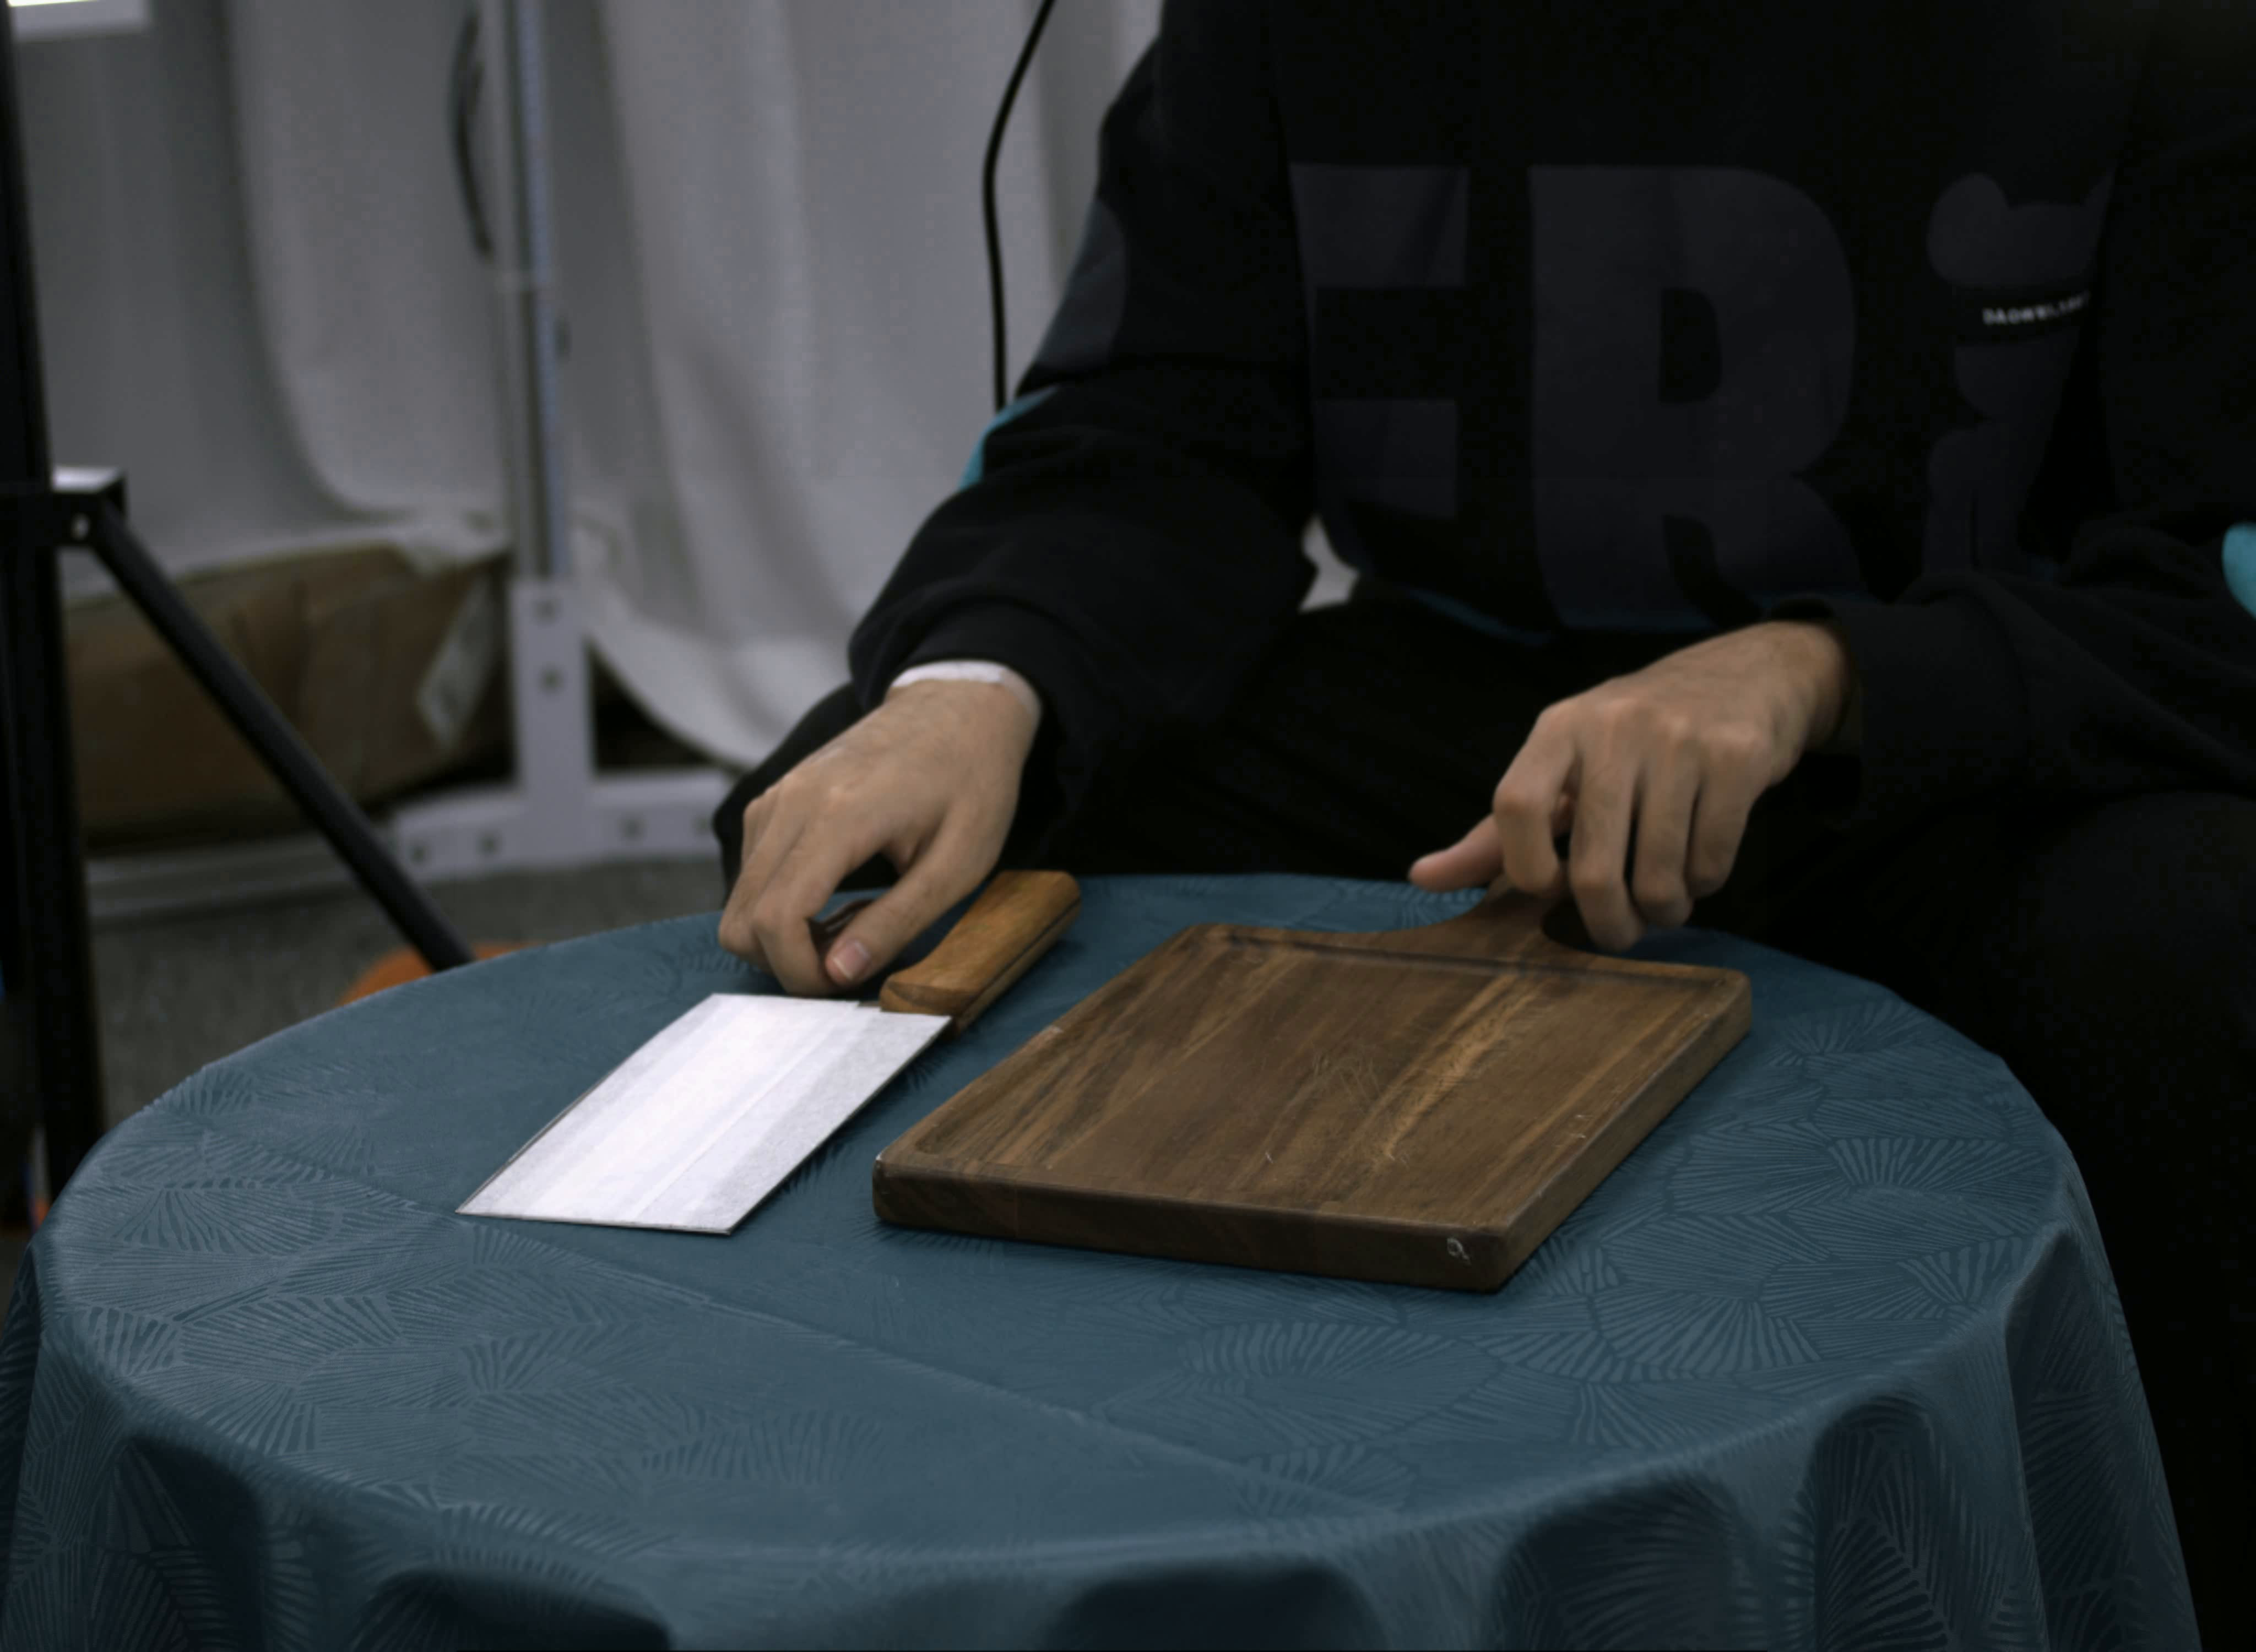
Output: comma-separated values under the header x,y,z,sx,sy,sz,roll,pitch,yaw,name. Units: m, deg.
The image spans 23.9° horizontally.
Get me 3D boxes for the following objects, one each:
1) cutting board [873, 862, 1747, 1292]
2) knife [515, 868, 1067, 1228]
x,y,z,sx,sy,sz,roll,pitch,yaw,name
0.079,0.068,1.647,0.204,0.023,0.347,4,17,23,cutting board
-0.105,0.069,1.687,0.094,0.021,0.302,1,19,20,knife
